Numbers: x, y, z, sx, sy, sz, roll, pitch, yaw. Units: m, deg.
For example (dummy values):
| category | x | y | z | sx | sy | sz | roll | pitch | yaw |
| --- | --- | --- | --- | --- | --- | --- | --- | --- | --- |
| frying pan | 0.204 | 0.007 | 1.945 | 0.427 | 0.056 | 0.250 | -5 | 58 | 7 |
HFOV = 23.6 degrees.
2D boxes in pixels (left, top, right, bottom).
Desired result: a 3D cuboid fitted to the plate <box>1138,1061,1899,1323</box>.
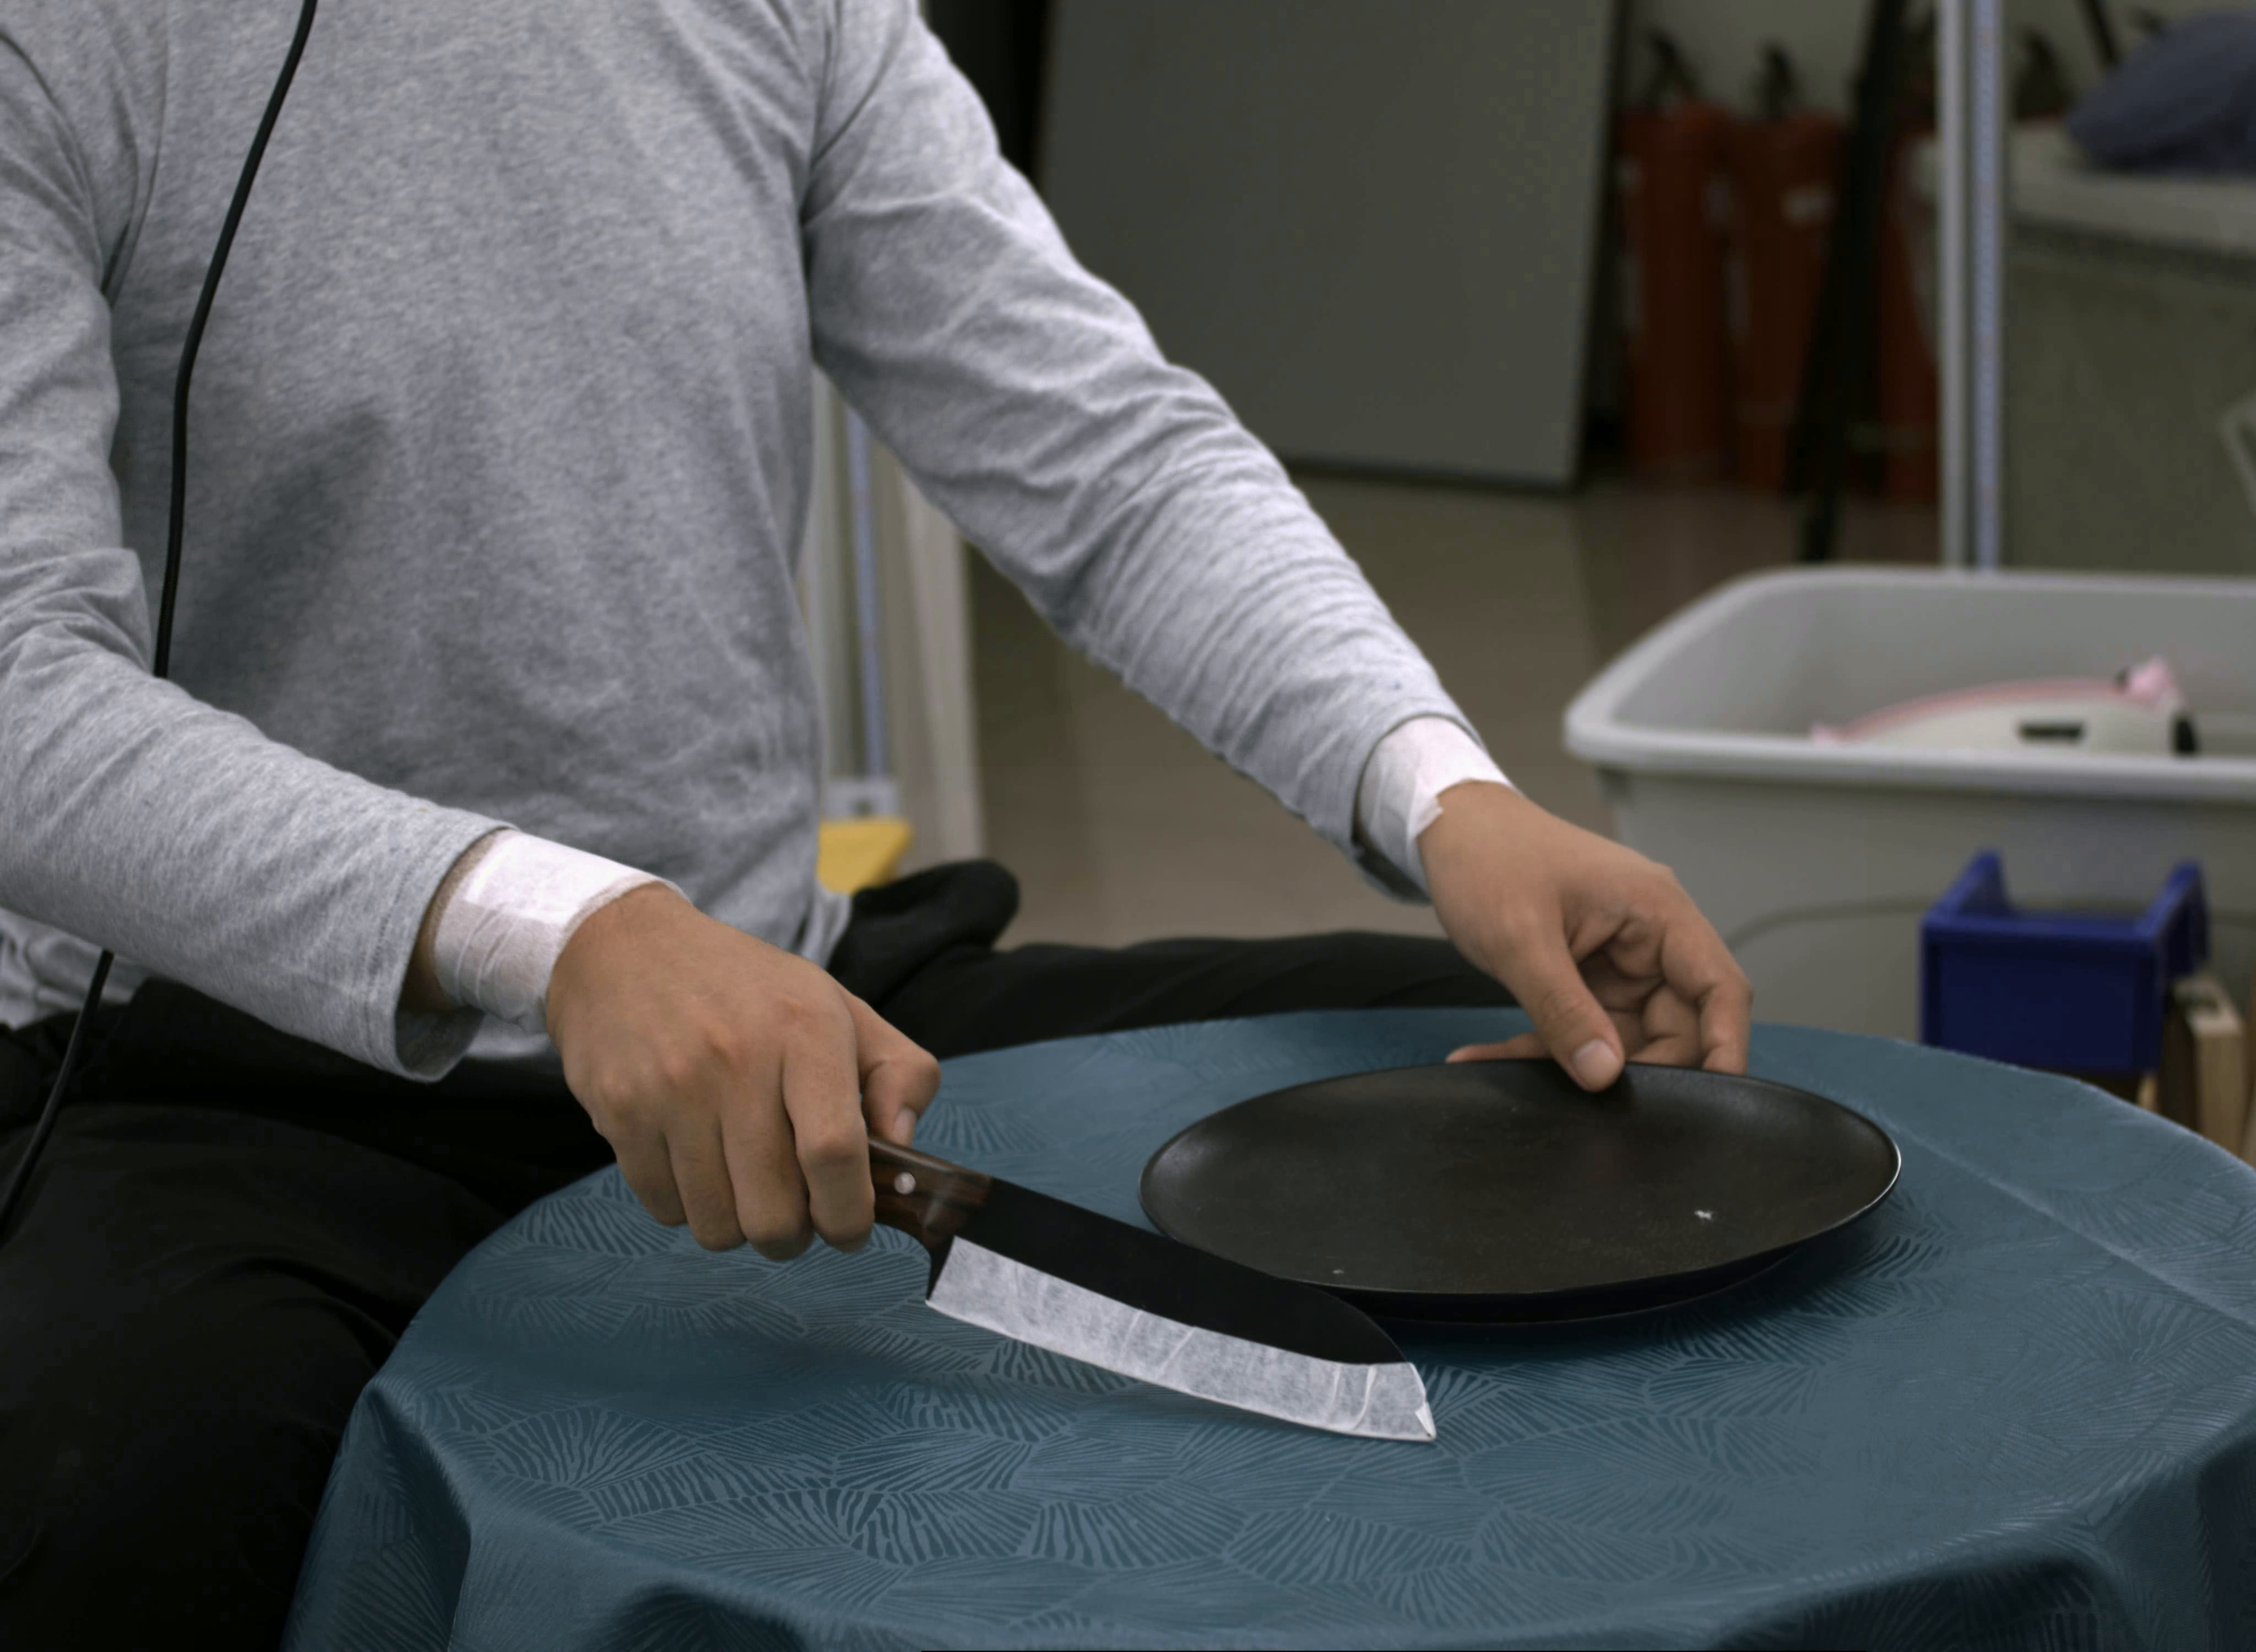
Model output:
| category | x | y | z | sx | sy | sz | roll | pitch | yaw |
| --- | --- | --- | --- | --- | --- | --- | --- | --- | --- |
| plate | 0.123 | 0.118 | 1.704 | 0.241 | 0.024 | 0.245 | -4 | 13 | 0 |

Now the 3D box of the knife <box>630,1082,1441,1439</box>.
| category | x | y | z | sx | sy | sz | roll | pitch | yaw |
| --- | --- | --- | --- | --- | --- | --- | --- | --- | --- |
| knife | -0.031 | 0.128 | 1.594 | 0.290 | 0.050 | 0.020 | 19 | -12 | 28 |
